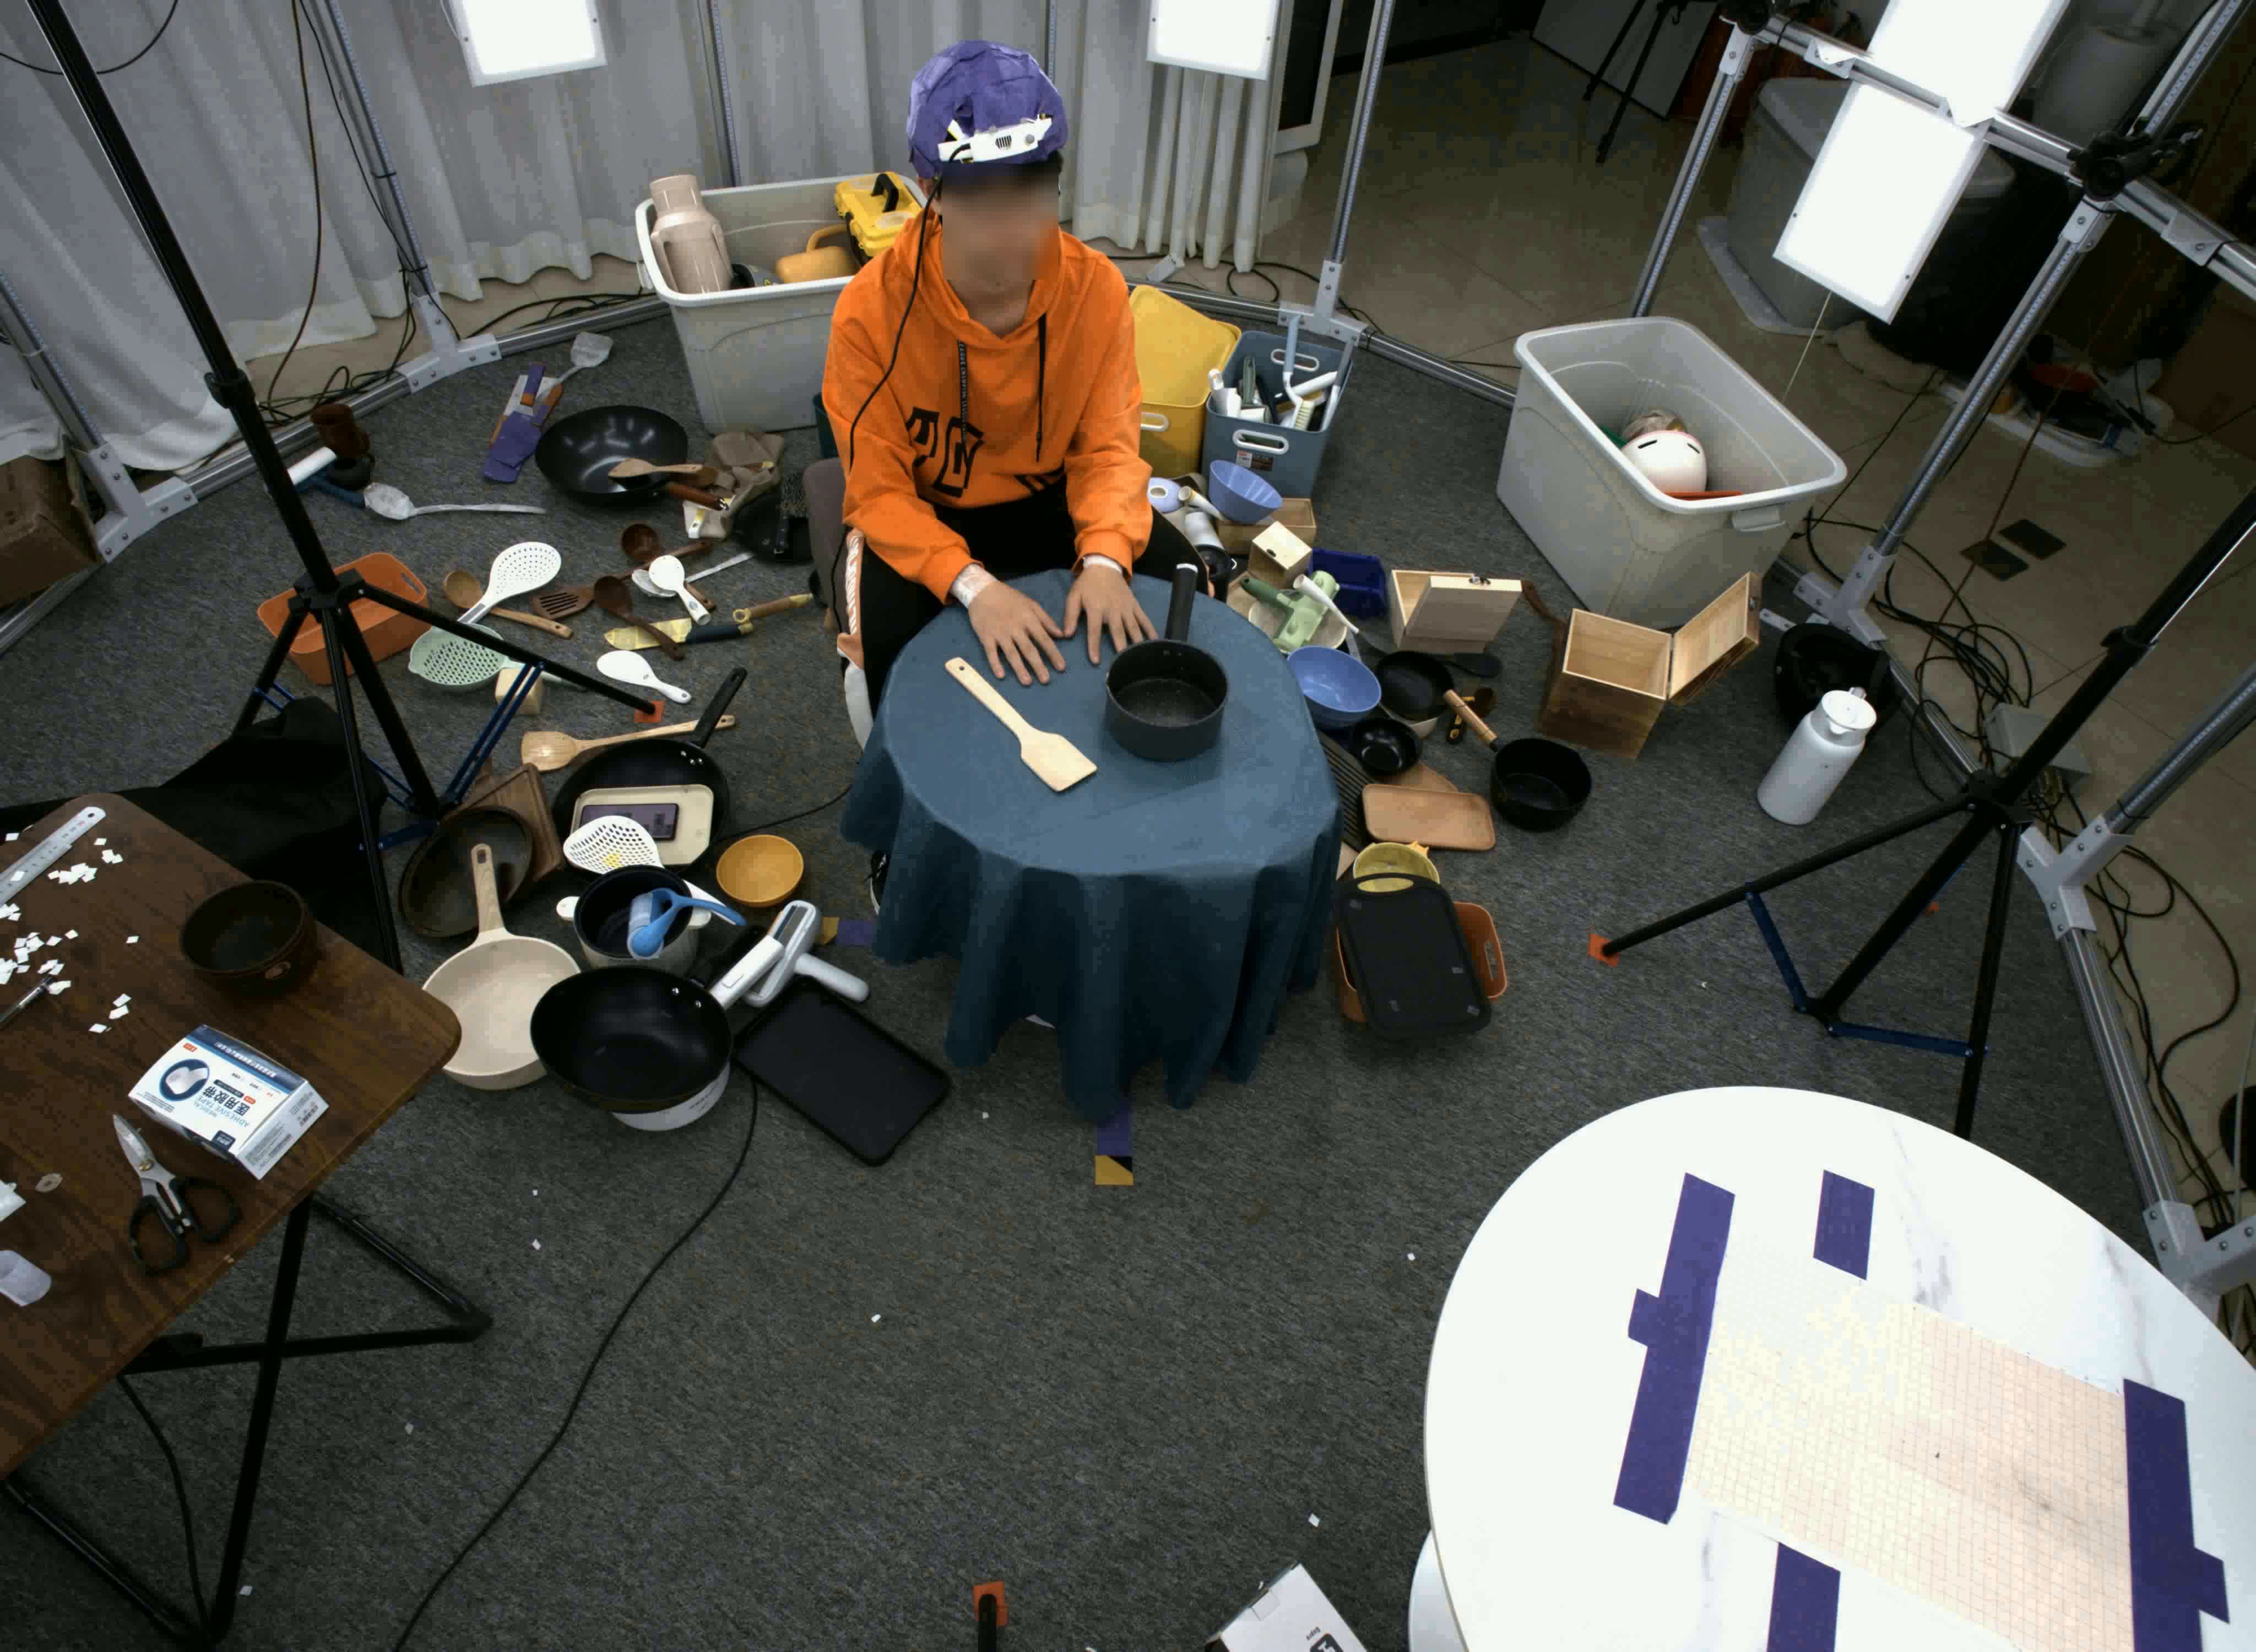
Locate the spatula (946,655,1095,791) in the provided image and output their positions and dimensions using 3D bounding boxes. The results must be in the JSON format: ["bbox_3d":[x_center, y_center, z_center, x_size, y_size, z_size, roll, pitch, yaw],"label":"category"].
[{"bbox_3d":[-0.162,-0.150,1.782,0.073,0.010,0.298,-32,58,-23],"label":"spatula"}]

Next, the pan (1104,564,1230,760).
[{"bbox_3d":[0.066,-0.236,1.824,0.172,0.084,0.336,11,51,4],"label":"pan"}]
